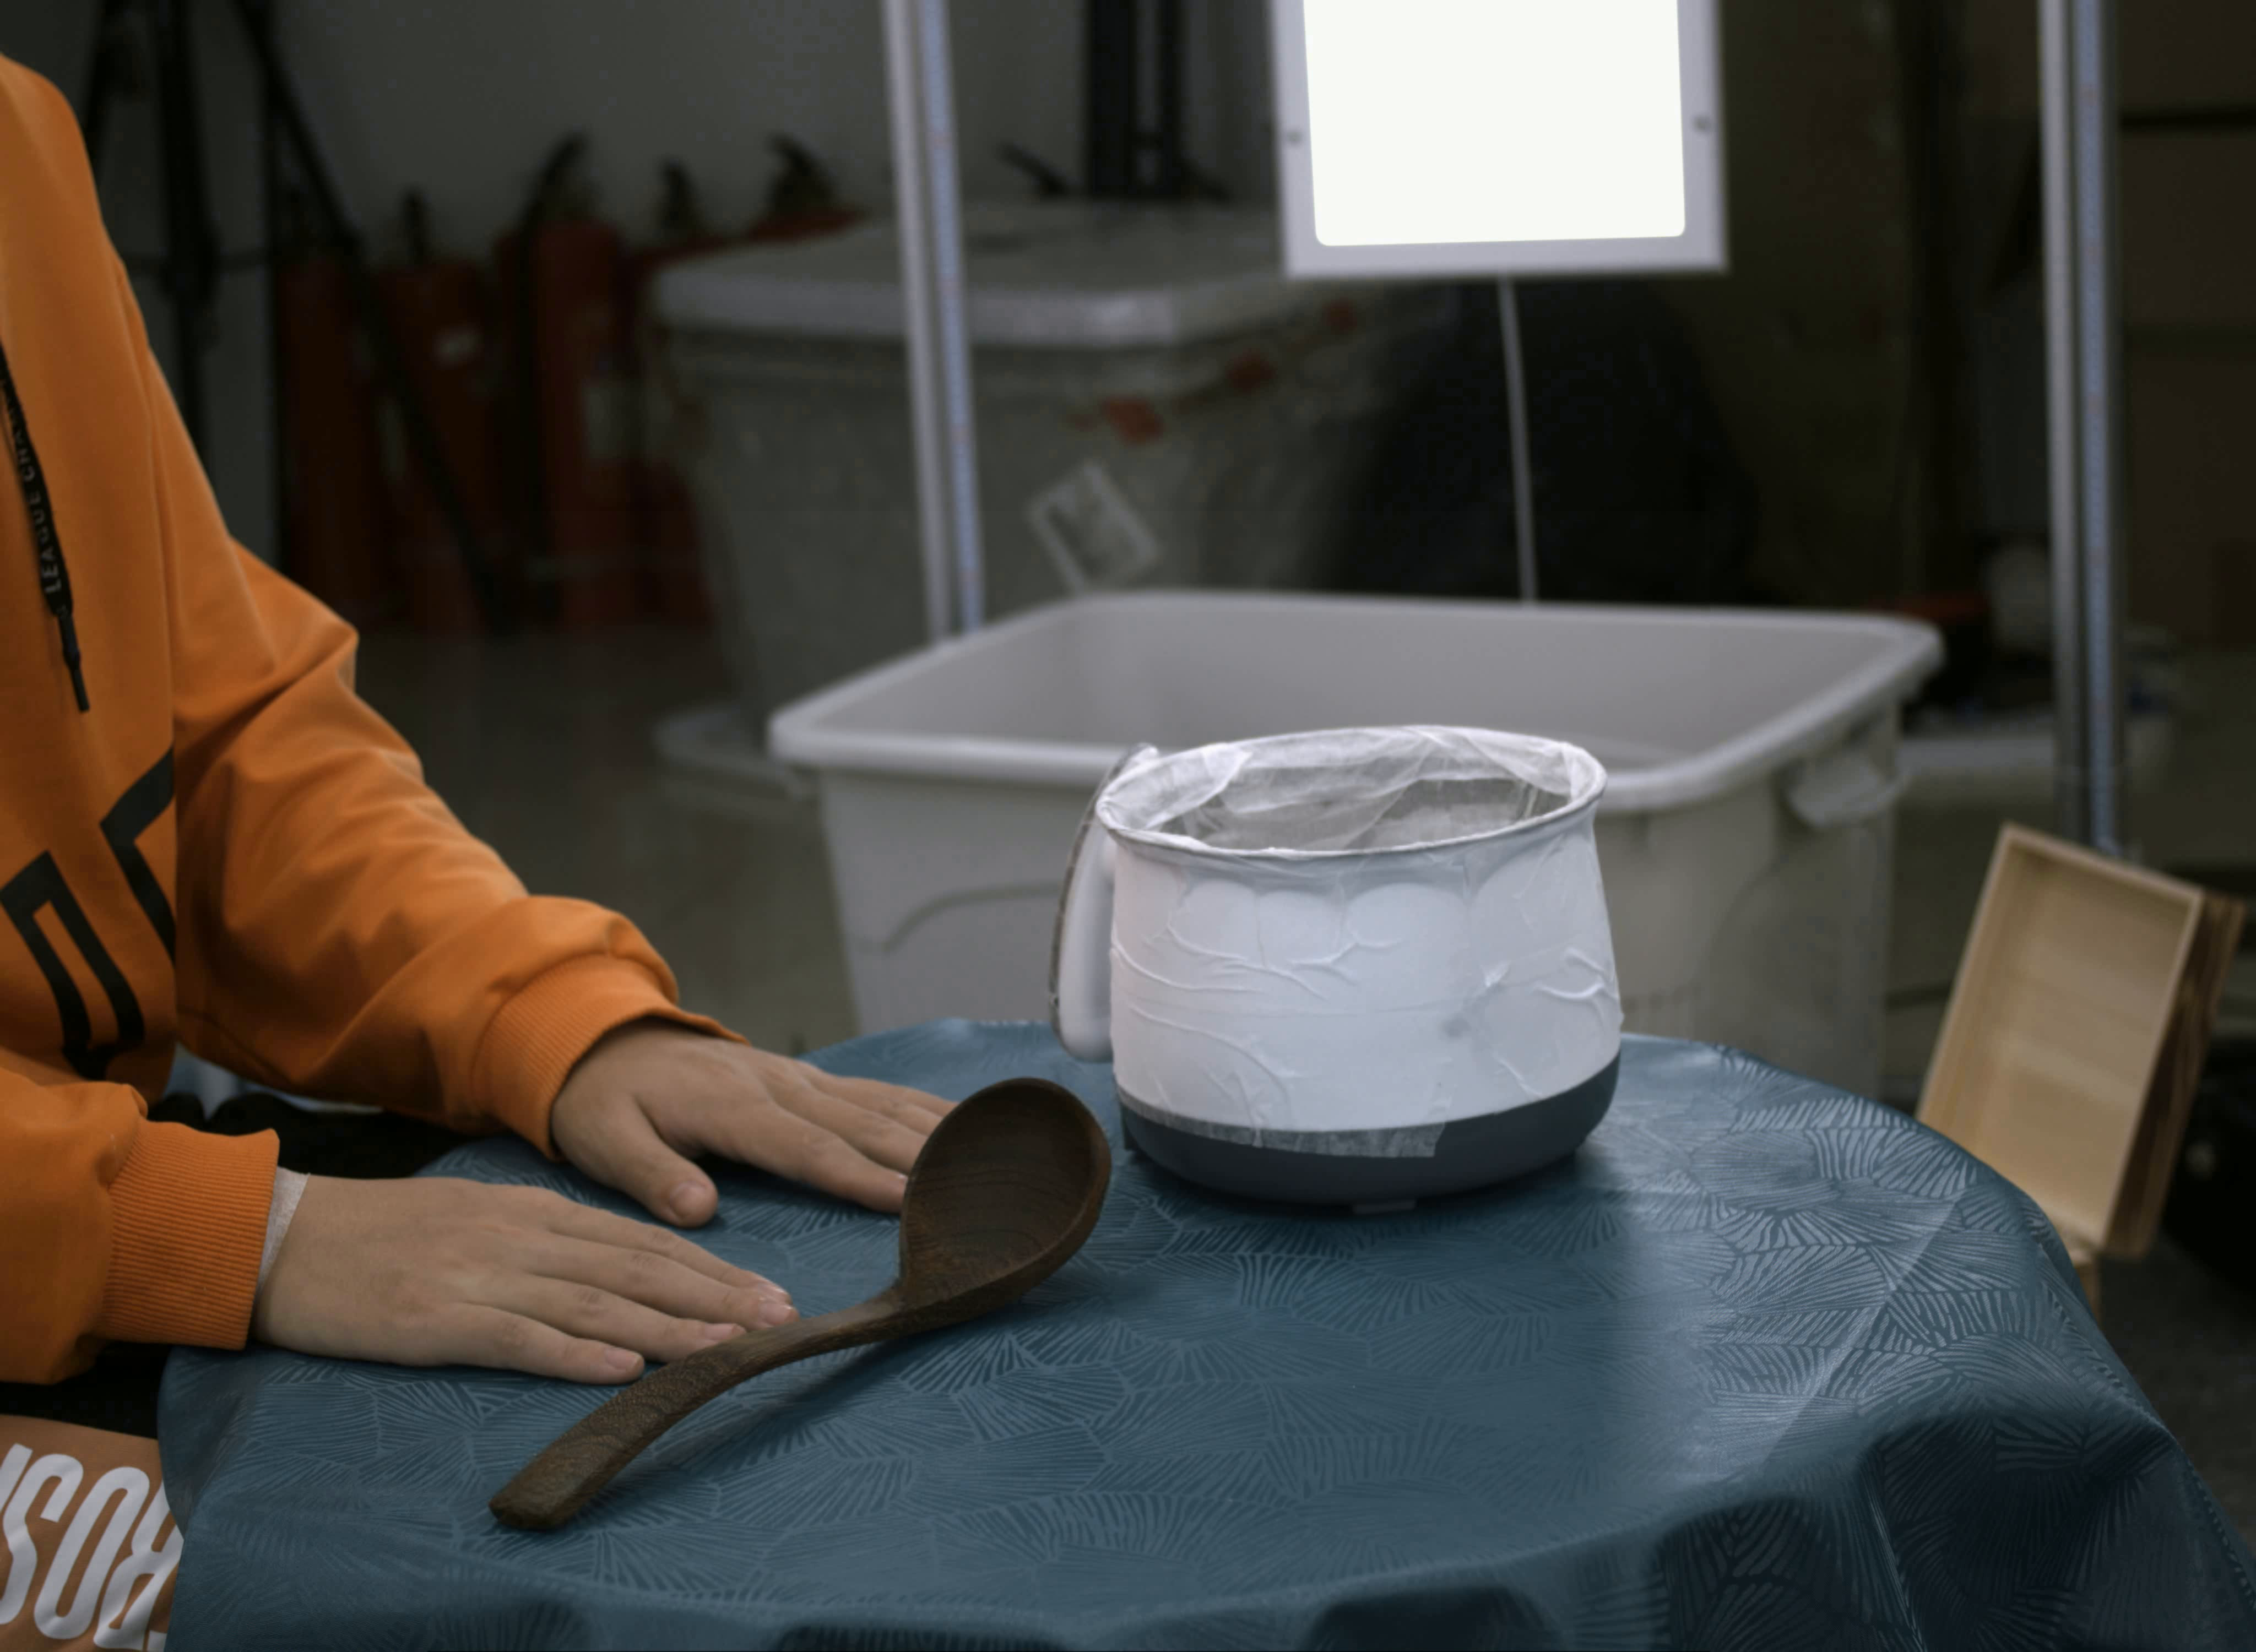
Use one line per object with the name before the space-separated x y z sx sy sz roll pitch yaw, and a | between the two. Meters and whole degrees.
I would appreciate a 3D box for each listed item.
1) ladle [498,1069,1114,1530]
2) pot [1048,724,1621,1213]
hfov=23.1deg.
ladle | -0.101 0.143 1.722 0.077 0.071 0.267 3 15 38
pot | 0.061 0.044 1.920 0.239 0.137 0.174 9 19 43
